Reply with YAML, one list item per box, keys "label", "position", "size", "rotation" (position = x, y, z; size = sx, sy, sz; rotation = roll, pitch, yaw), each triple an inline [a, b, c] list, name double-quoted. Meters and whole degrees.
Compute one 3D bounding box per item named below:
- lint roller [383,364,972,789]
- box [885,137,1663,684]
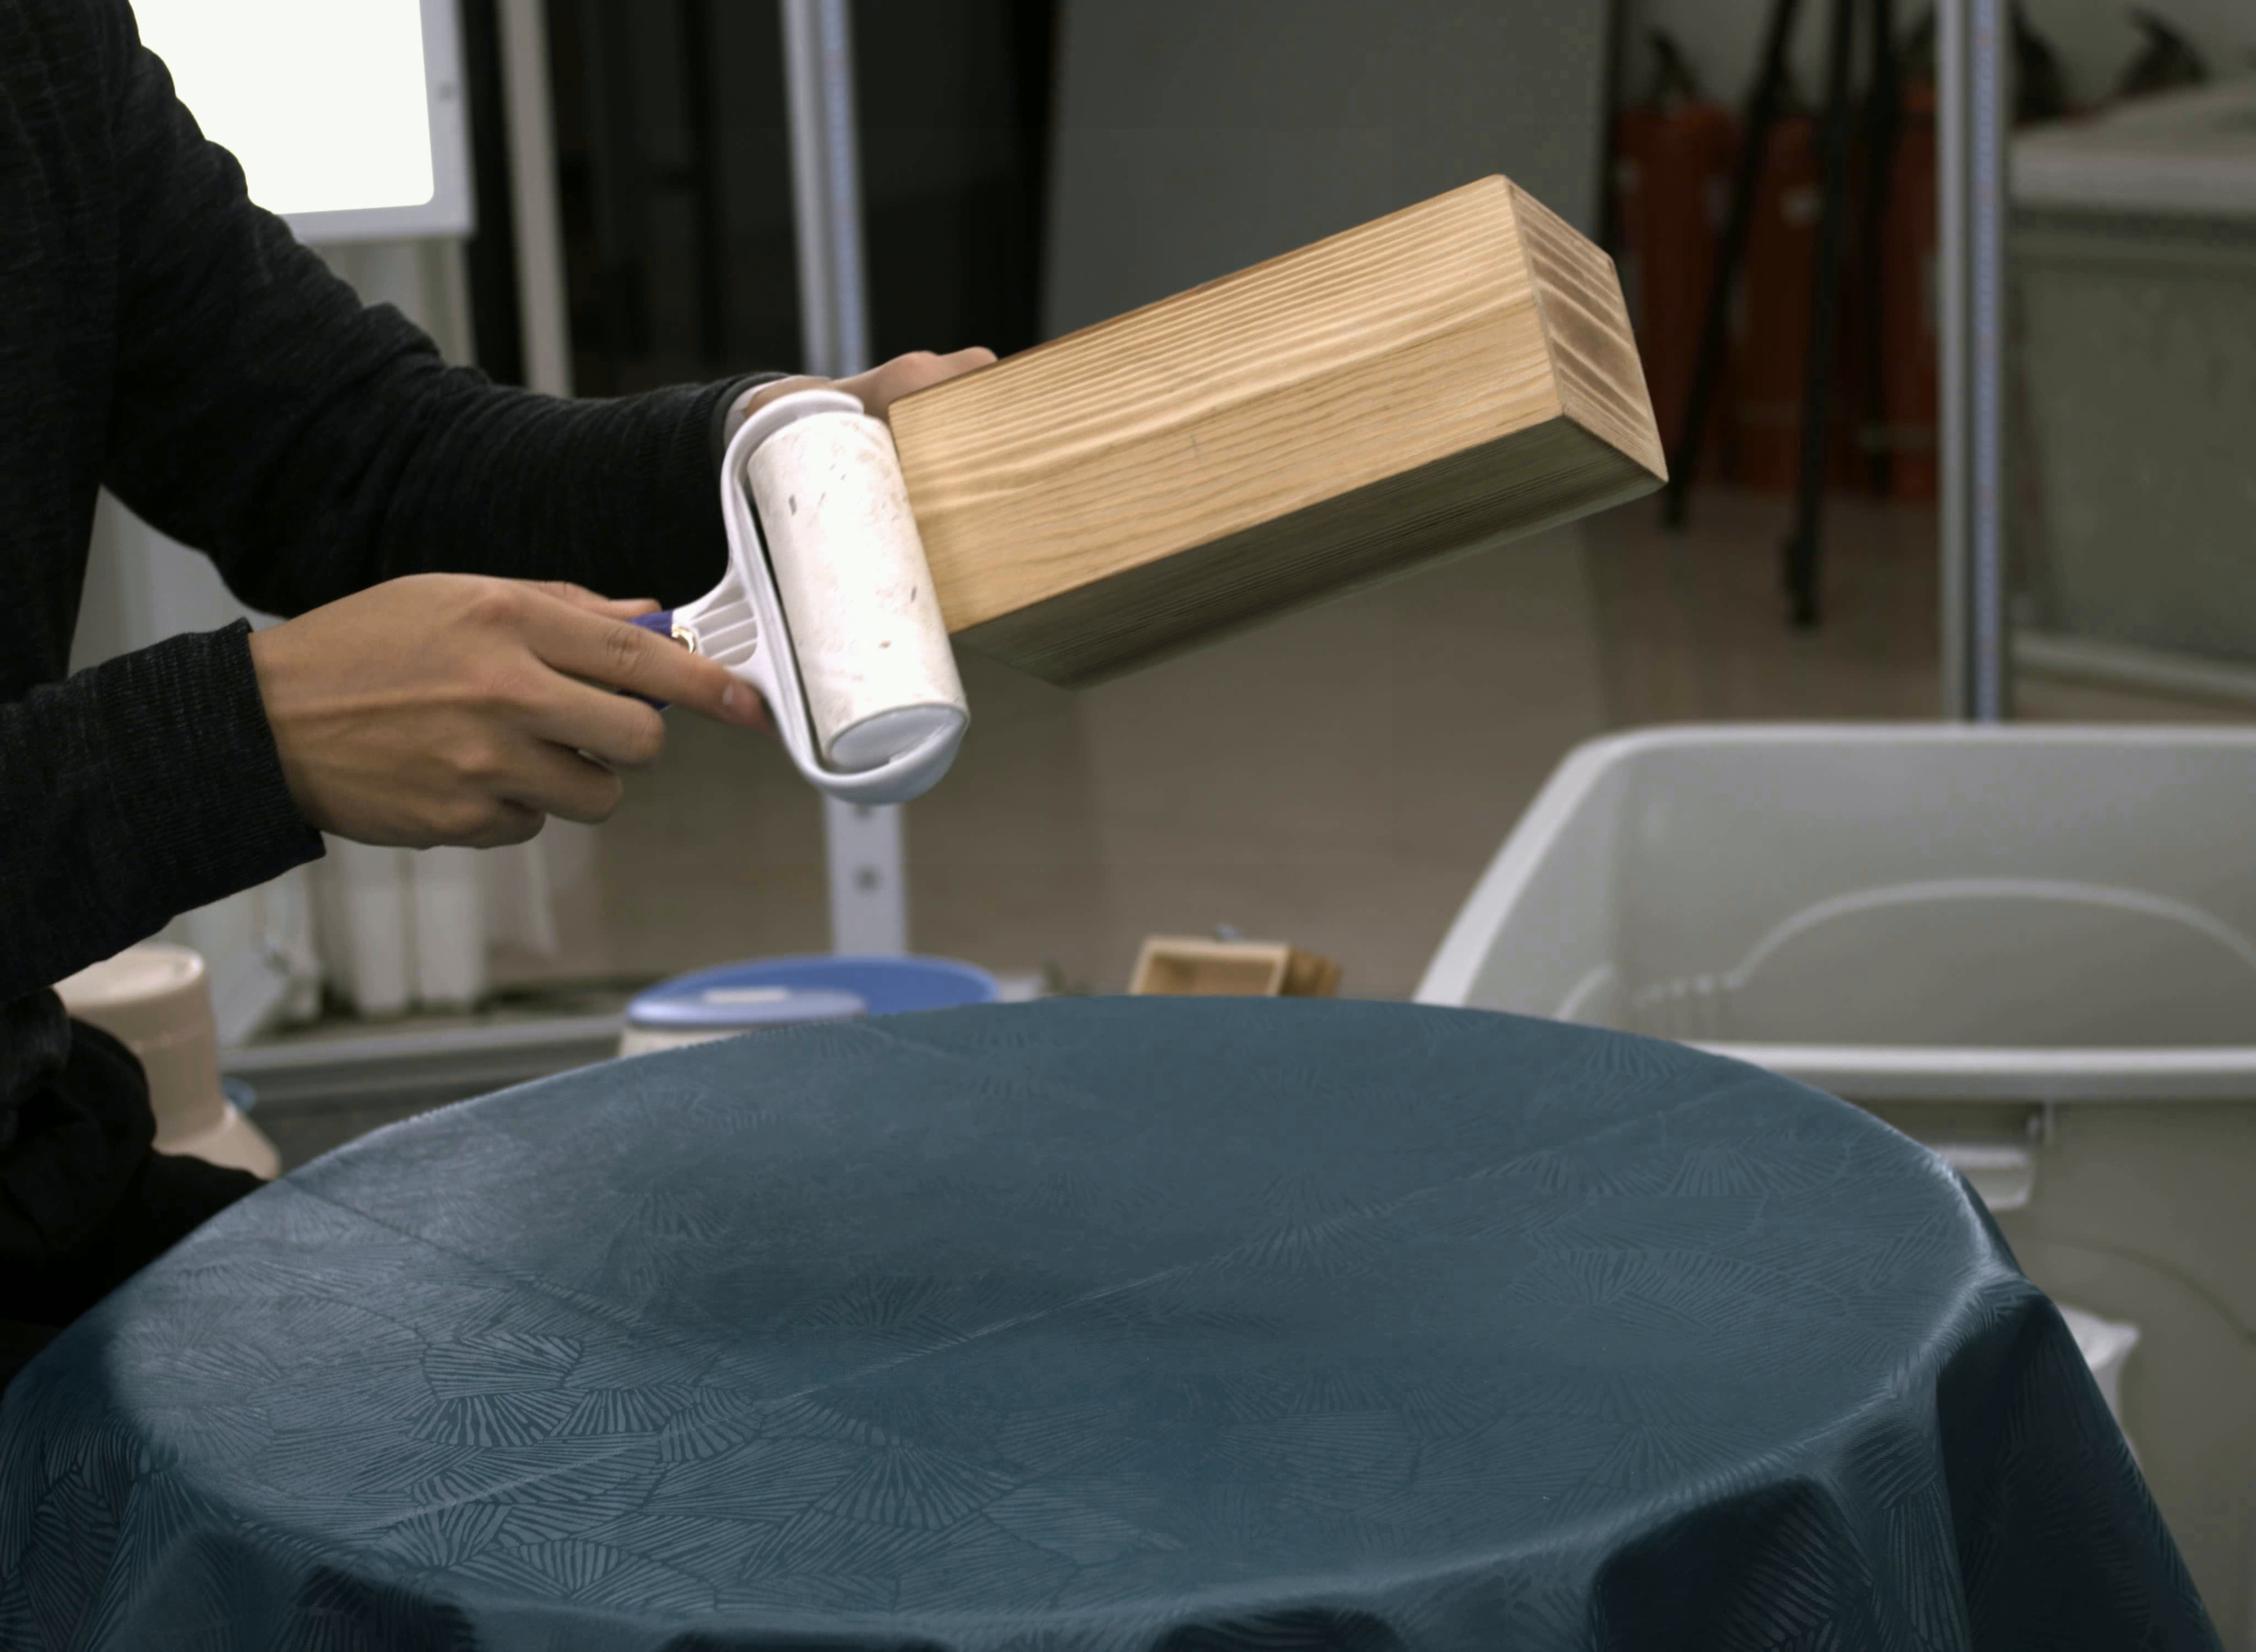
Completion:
- label: "lint roller"
  position: [-0.145, -0.059, 1.644]
  size: [0.179, 0.135, 0.050]
  rotation: [-15, -19, 1]
- label: "box"
  position: [0.046, -0.124, 1.666]
  size: [0.211, 0.081, 0.106]
  rotation: [-20, -17, 20]
